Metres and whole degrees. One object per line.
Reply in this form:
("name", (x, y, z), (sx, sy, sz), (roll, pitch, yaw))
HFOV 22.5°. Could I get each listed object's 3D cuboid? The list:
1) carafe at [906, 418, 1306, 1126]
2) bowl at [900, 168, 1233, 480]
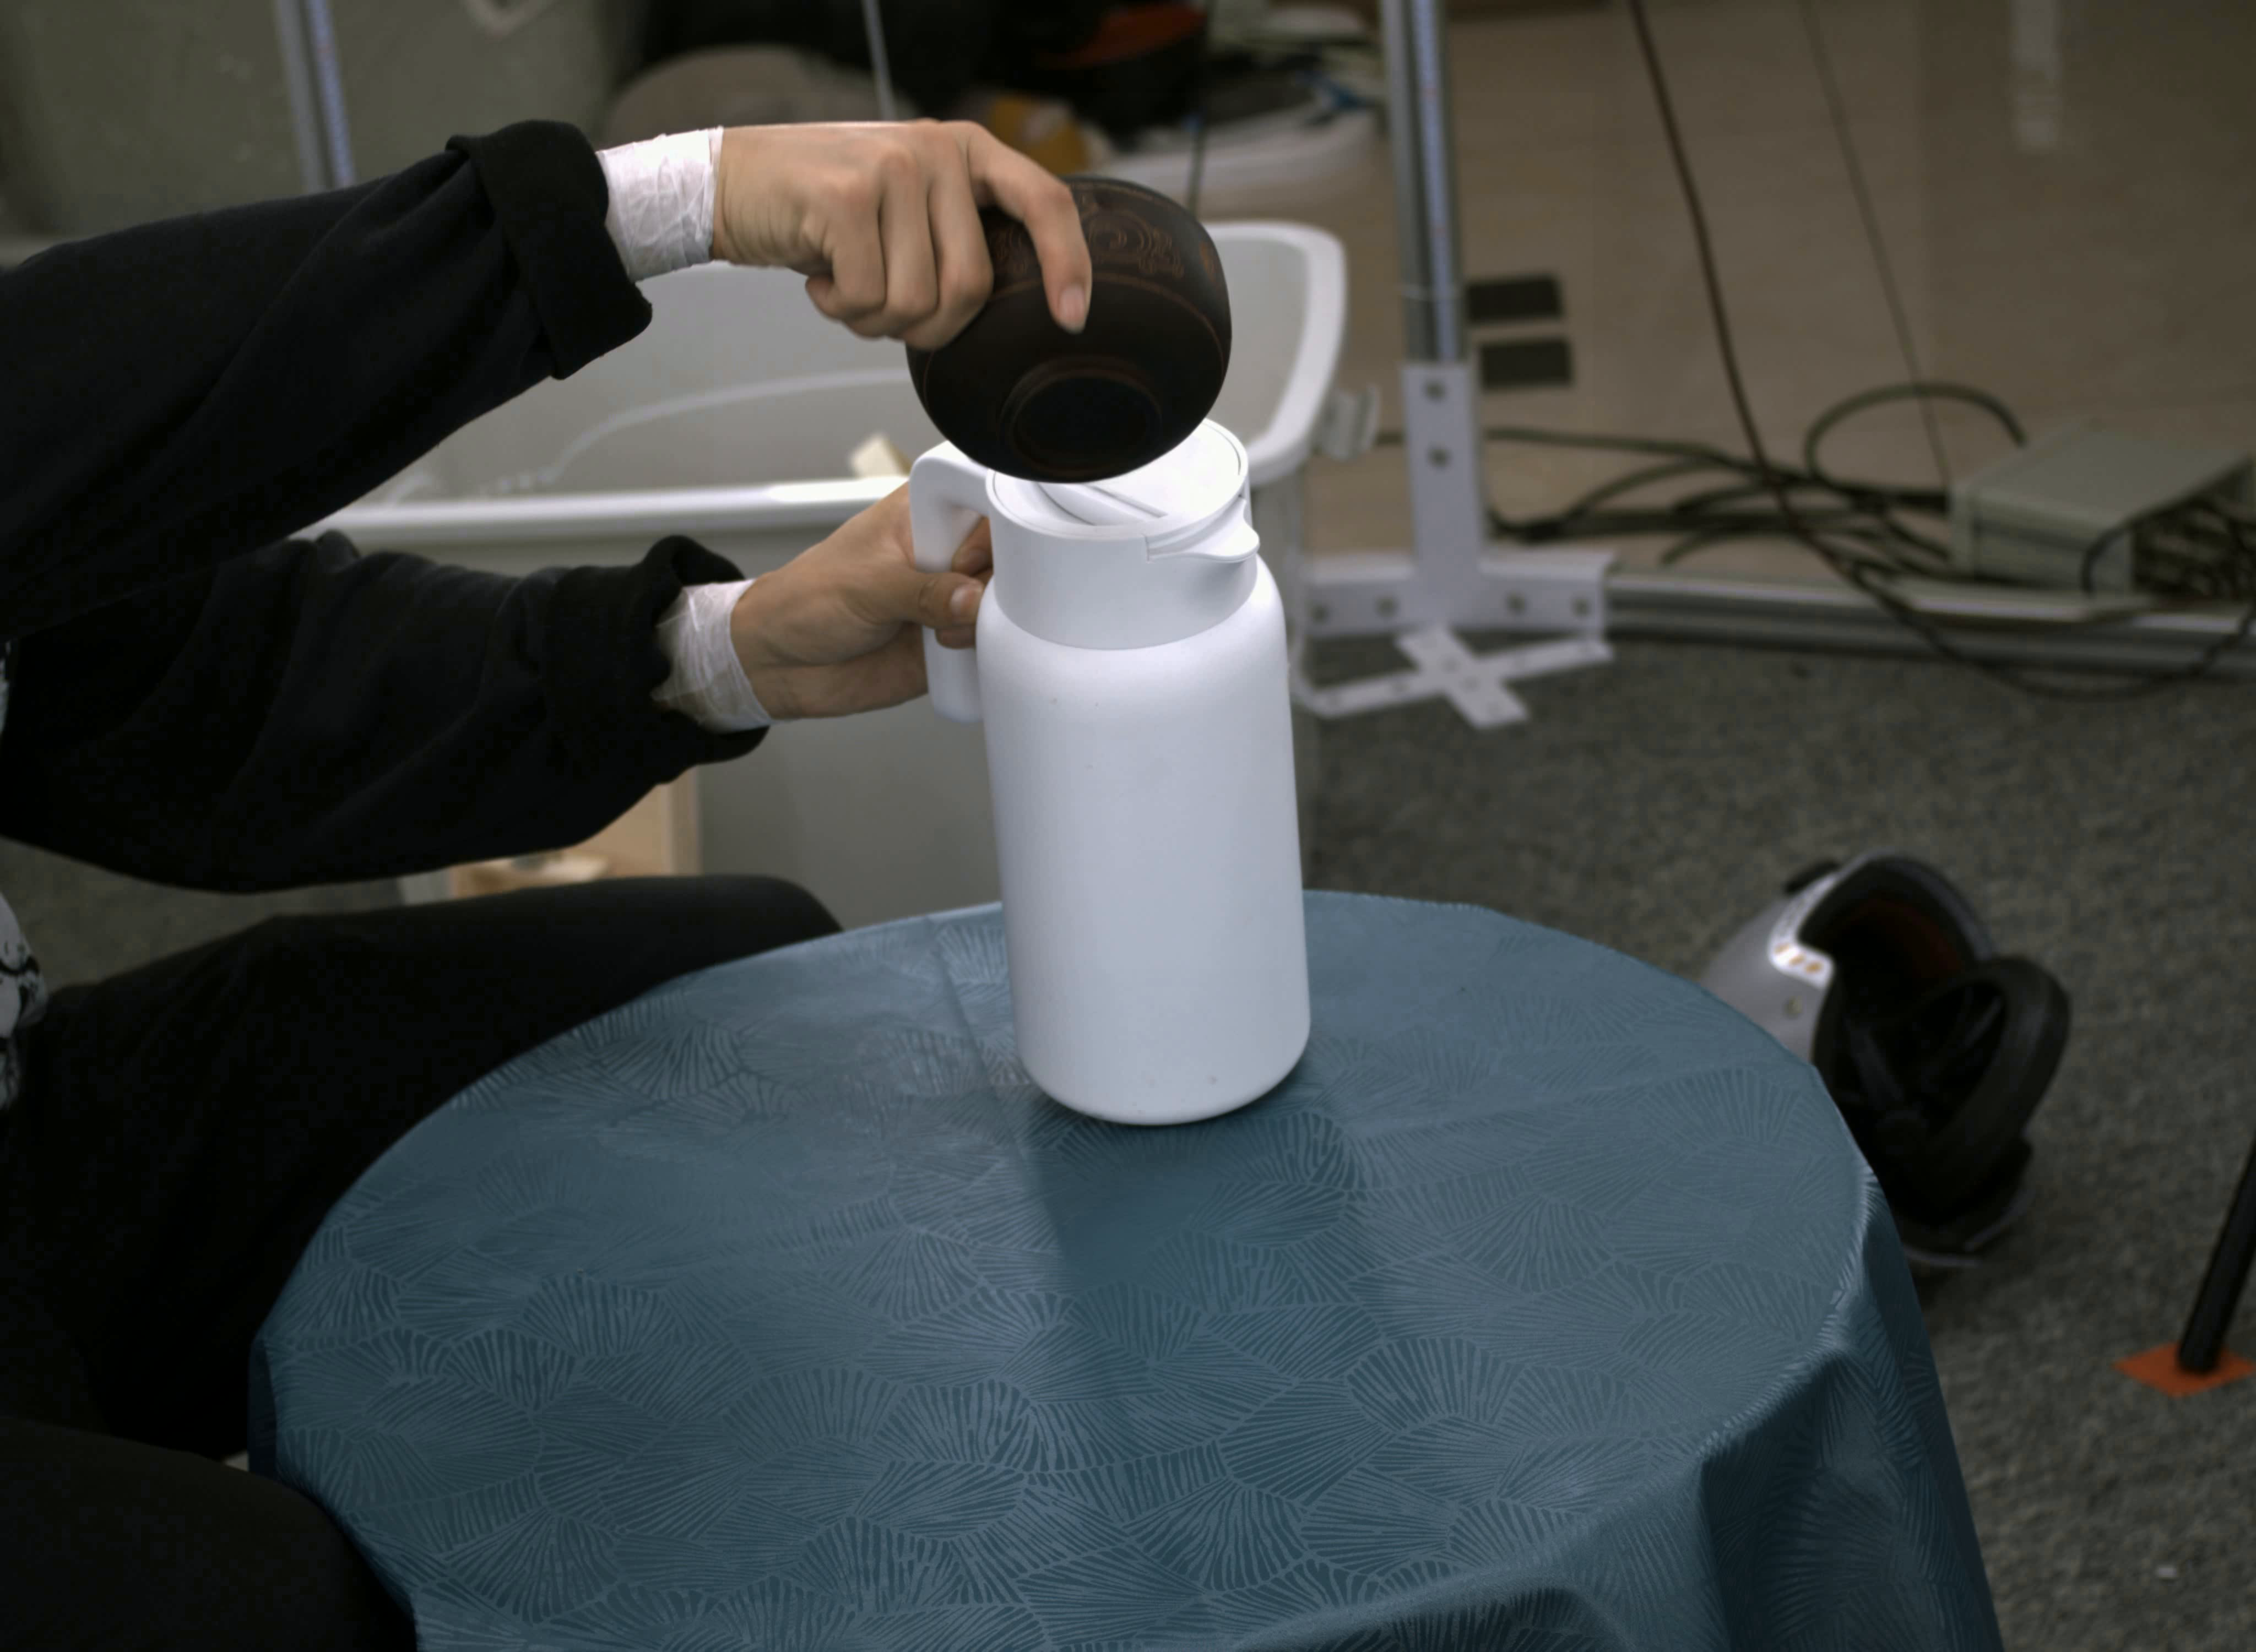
("carafe", (-0.009, -0.027, 2.168), (0.171, 0.274, 0.122), (25, 47, 35))
("bowl", (-0.020, -0.167, 1.985), (0.118, 0.120, 0.068), (-7, 52, -1))
